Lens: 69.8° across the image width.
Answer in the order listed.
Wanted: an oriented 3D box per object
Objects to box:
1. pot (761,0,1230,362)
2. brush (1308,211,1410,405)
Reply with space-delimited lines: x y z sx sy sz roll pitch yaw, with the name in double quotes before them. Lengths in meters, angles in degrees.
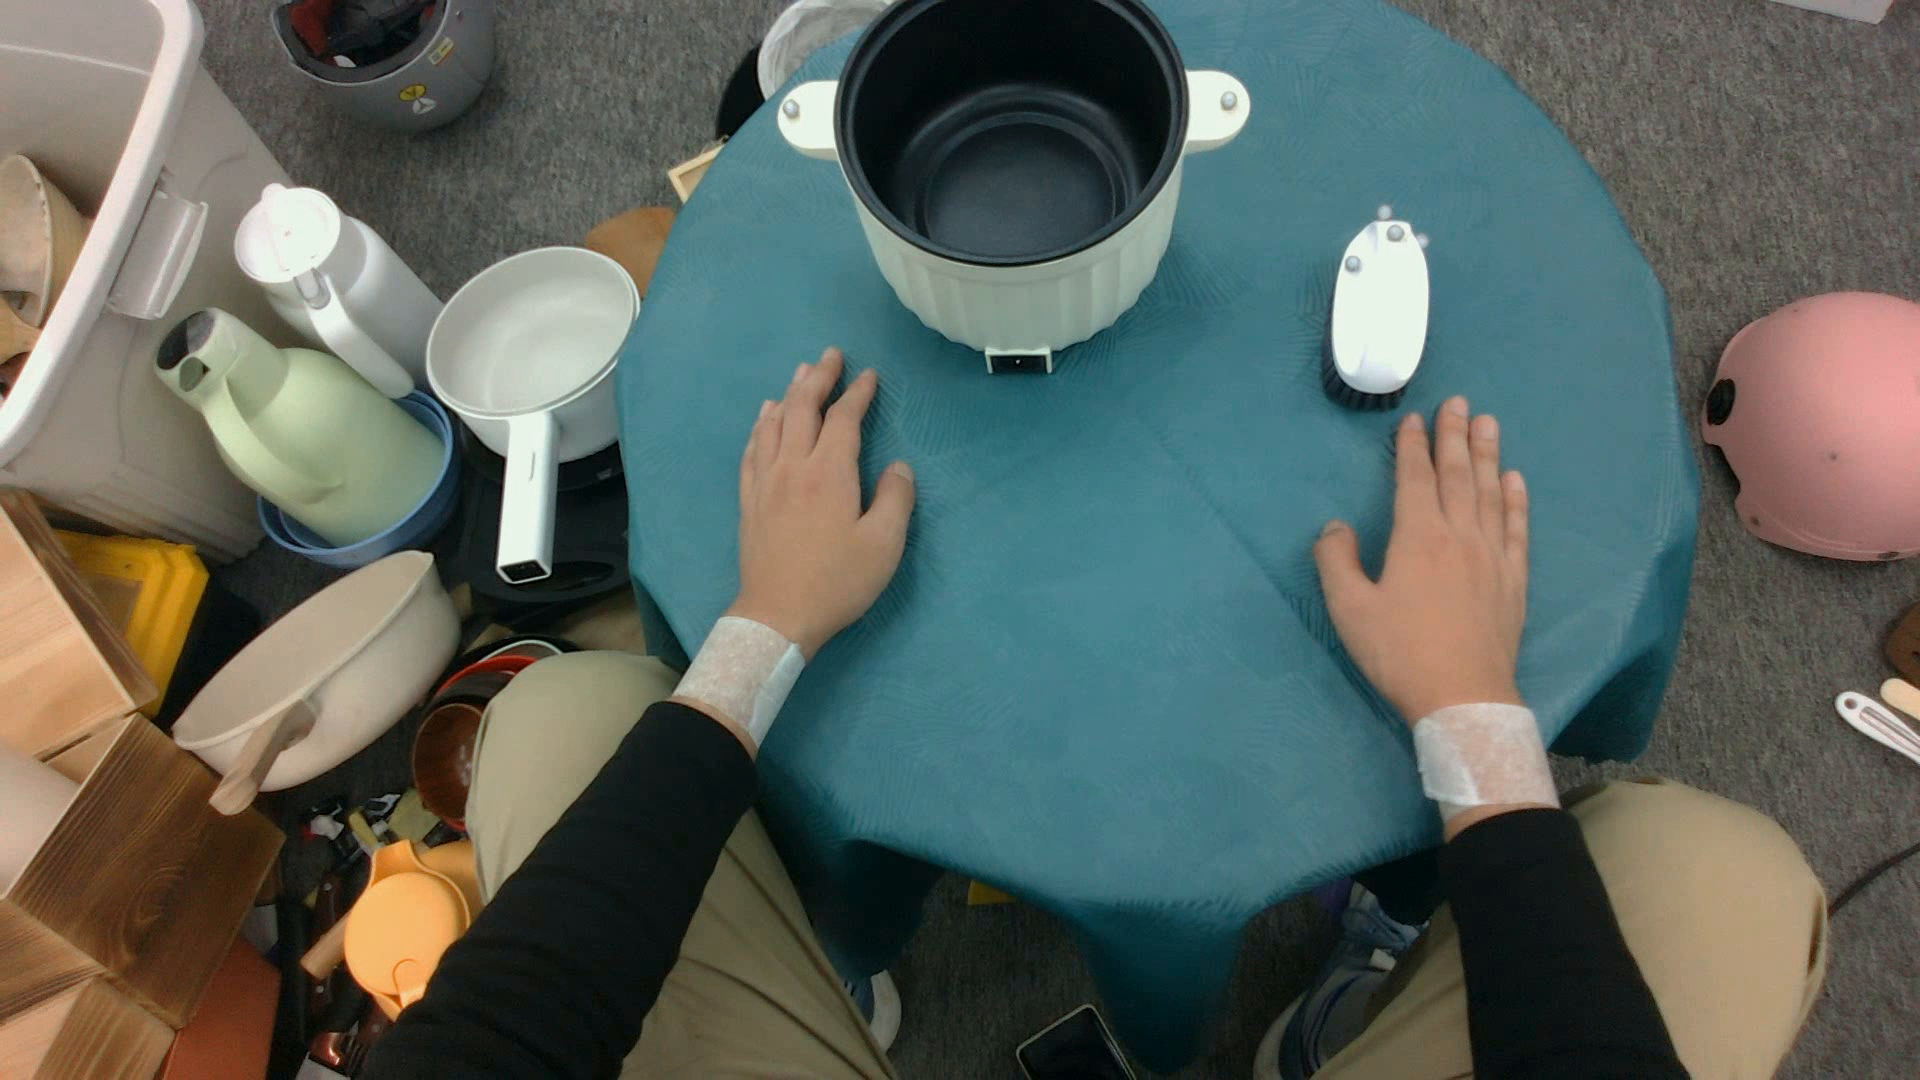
"pot" 0.021 -0.210 0.764 0.240 0.142 0.191 0 74 3
"brush" 0.222 -0.134 0.756 0.050 0.072 0.099 7 72 8
